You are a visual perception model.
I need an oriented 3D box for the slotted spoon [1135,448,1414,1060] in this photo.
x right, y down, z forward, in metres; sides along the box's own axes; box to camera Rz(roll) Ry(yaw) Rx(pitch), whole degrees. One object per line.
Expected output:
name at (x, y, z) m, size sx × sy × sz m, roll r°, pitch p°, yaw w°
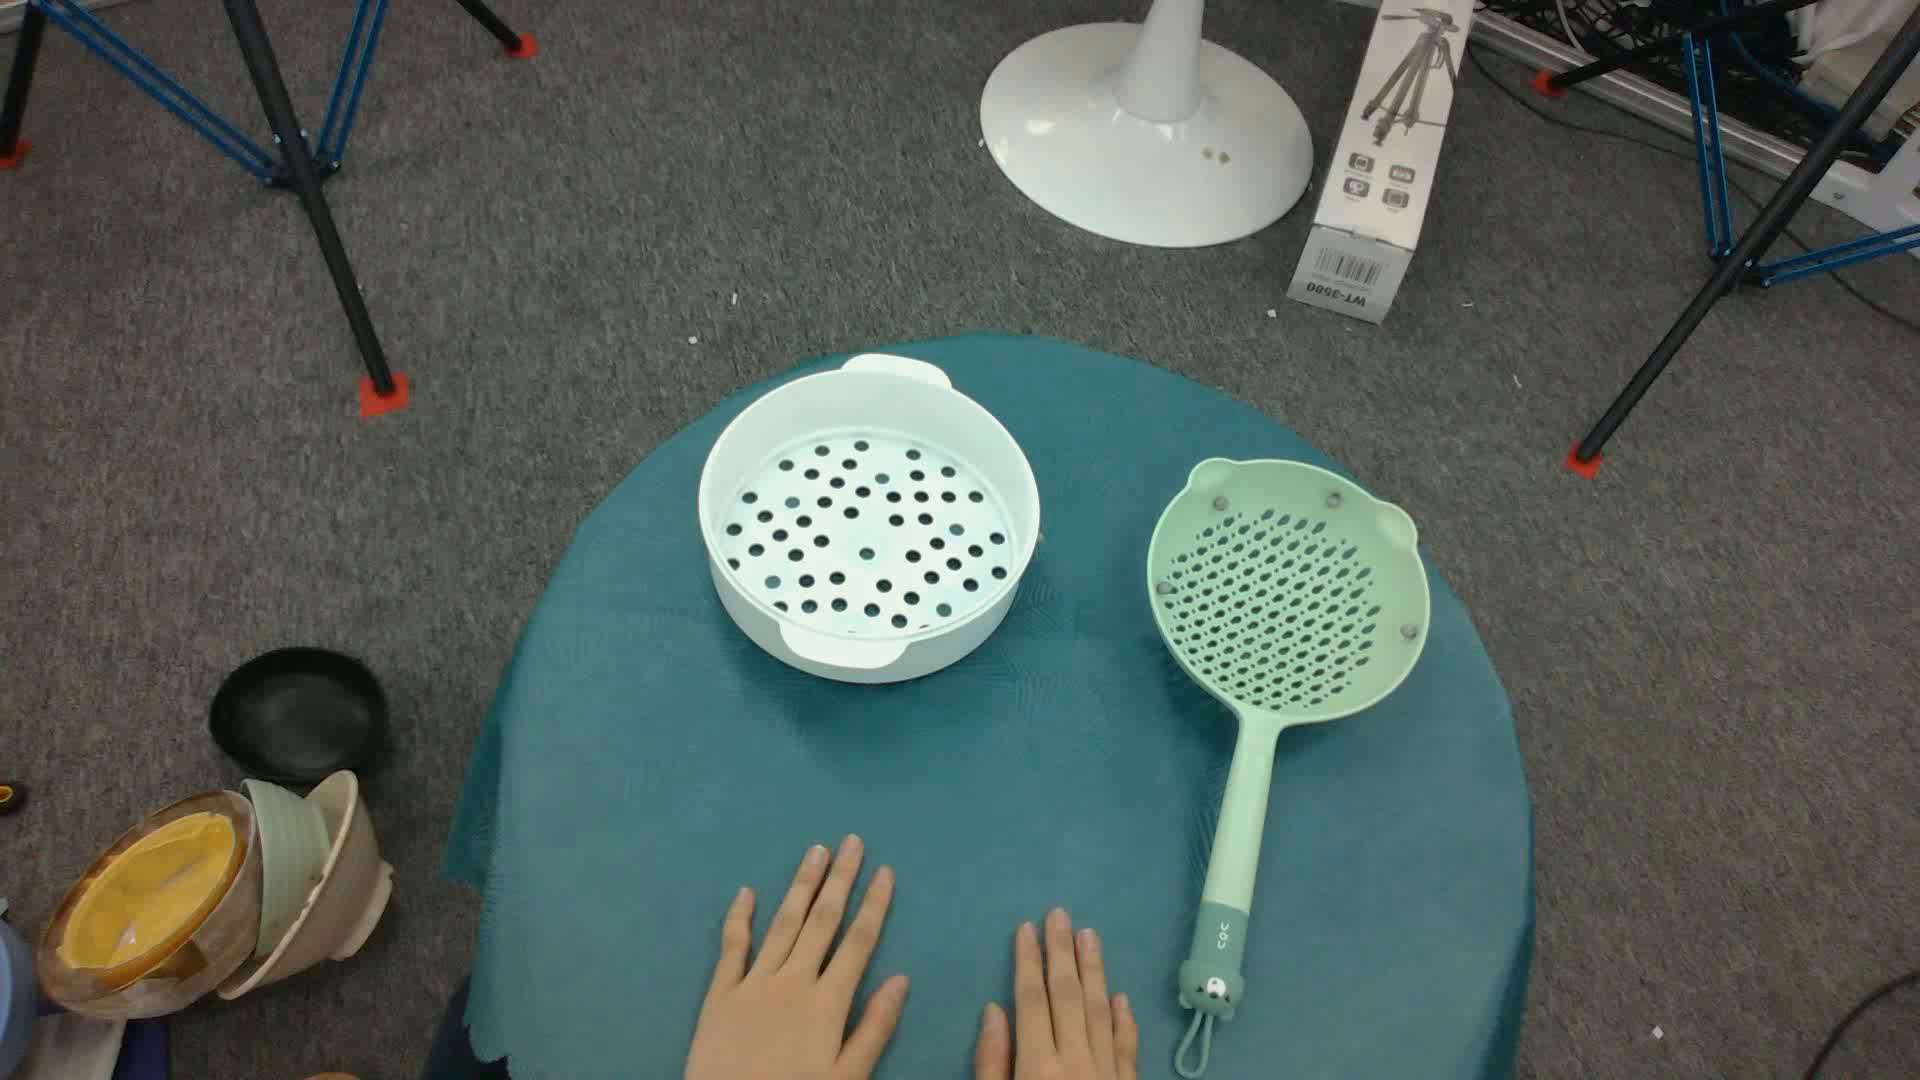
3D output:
slotted spoon at (0.160, 0.108, 0.782) m, size 0.169 × 0.075 × 0.360 m, roll 16°, pitch 54°, yaw 4°

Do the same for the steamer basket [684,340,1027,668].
steamer basket at (-0.063, -0.017, 0.837) m, size 0.202 × 0.069 × 0.231 m, roll 8°, pitch 54°, yaw -2°
